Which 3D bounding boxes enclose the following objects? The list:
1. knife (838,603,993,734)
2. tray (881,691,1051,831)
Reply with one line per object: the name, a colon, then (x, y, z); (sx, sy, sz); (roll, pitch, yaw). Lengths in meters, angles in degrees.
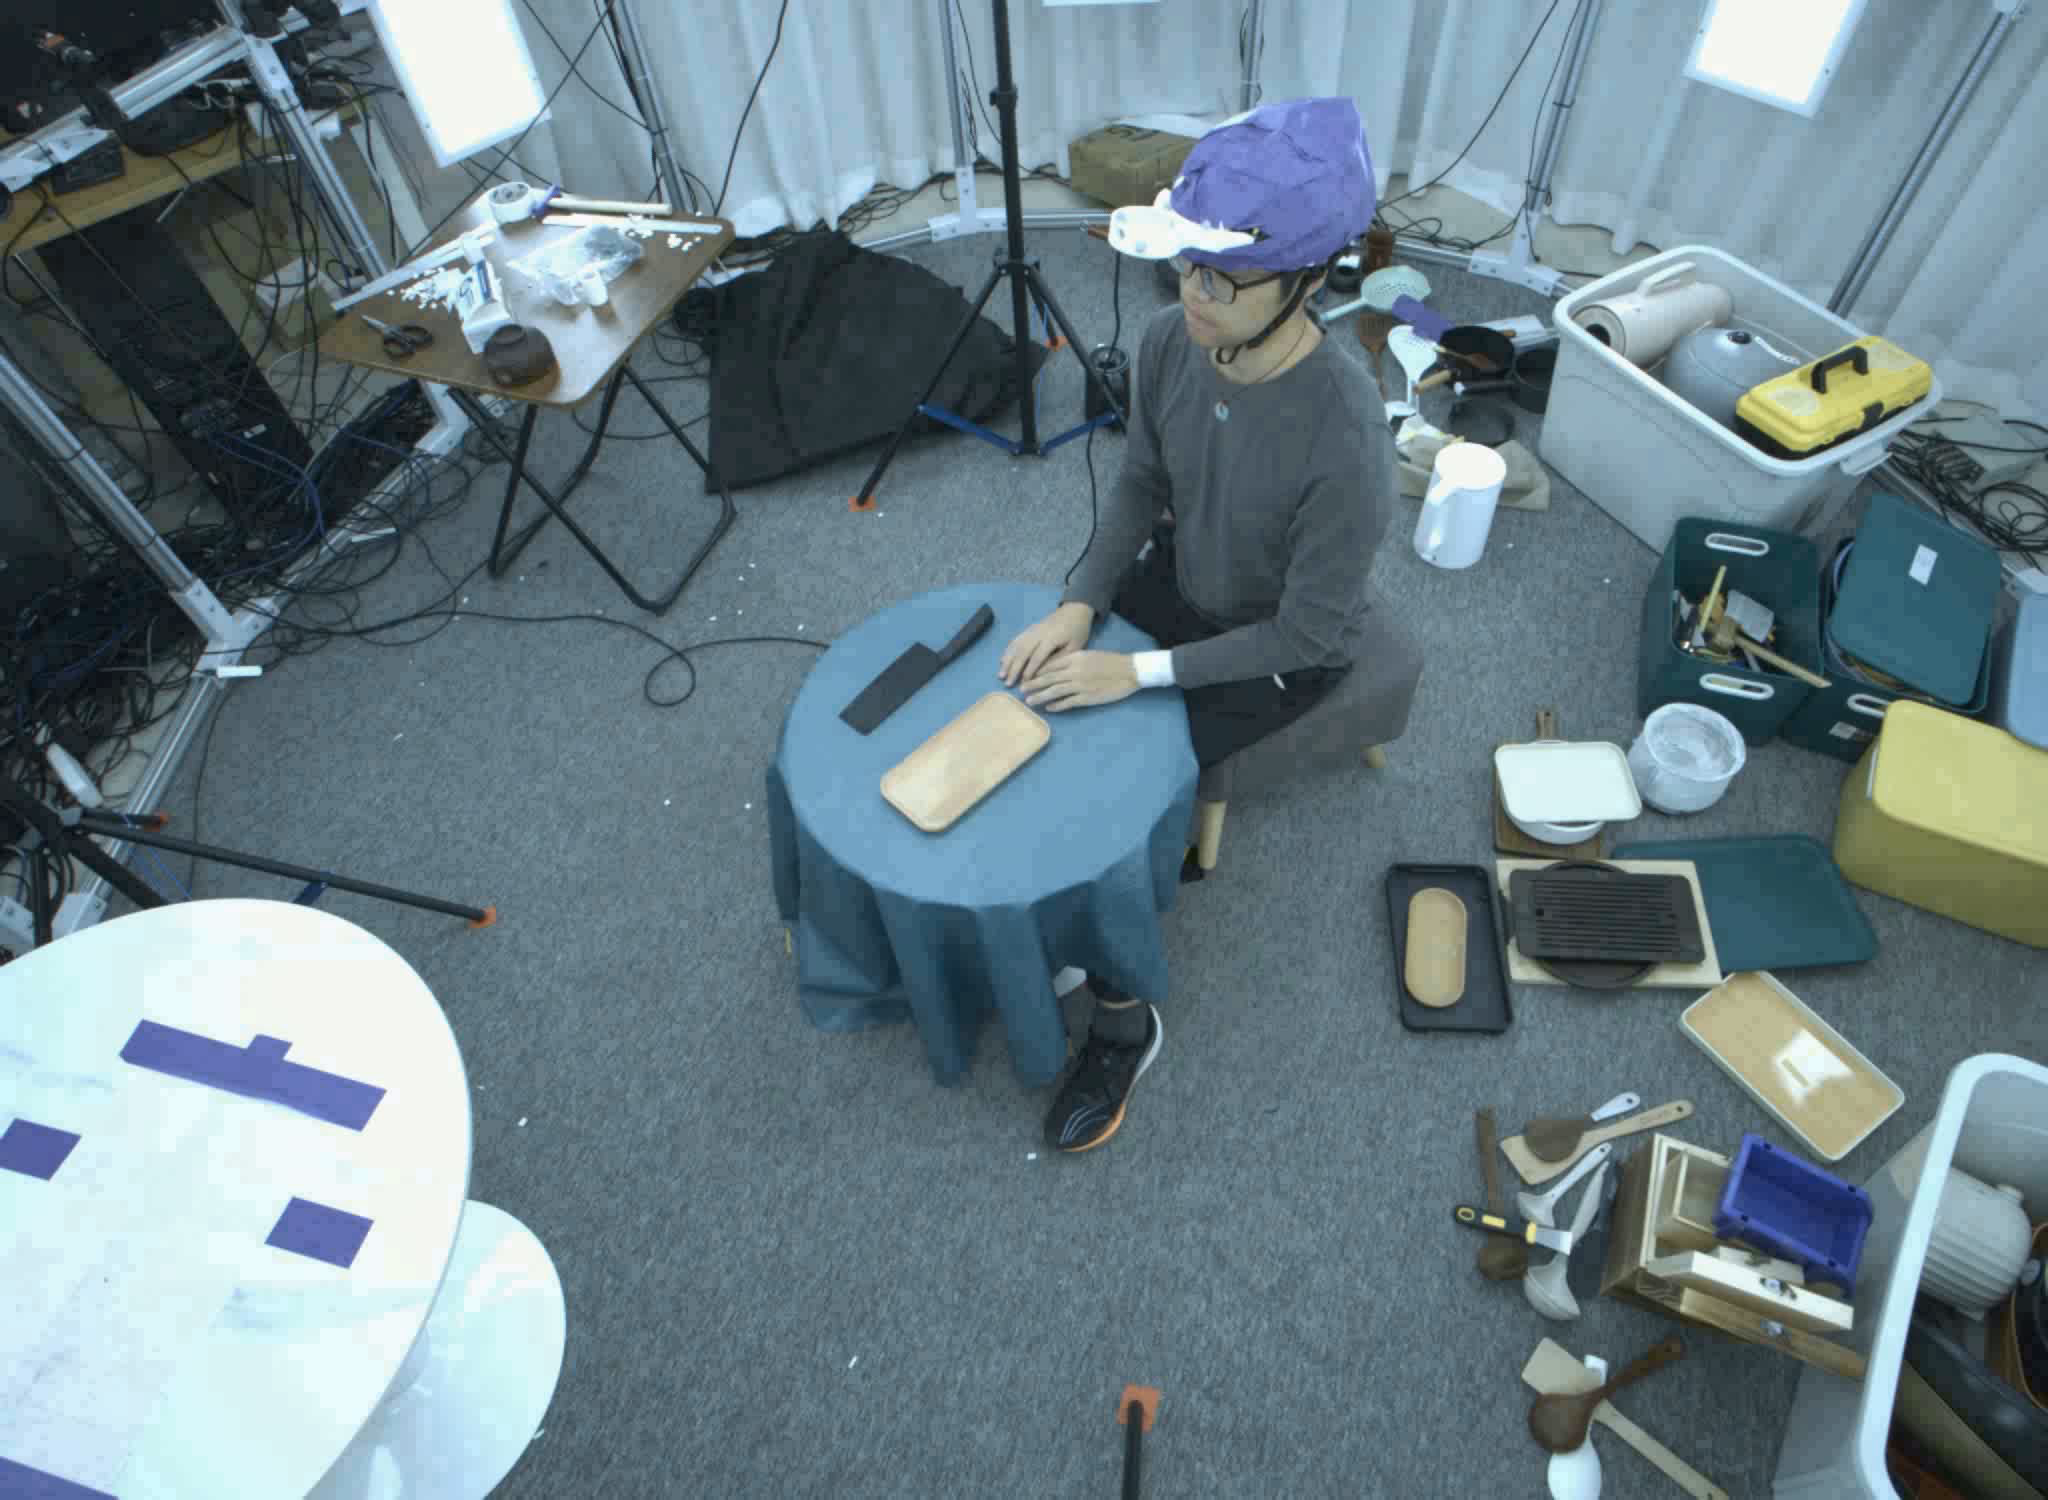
knife: (-0.160, -0.133, 1.886); (0.079, 0.021, 0.304); (38, 65, 26)
tray: (-0.082, 0.013, 1.778); (0.252, 0.023, 0.128); (-38, 64, -24)
